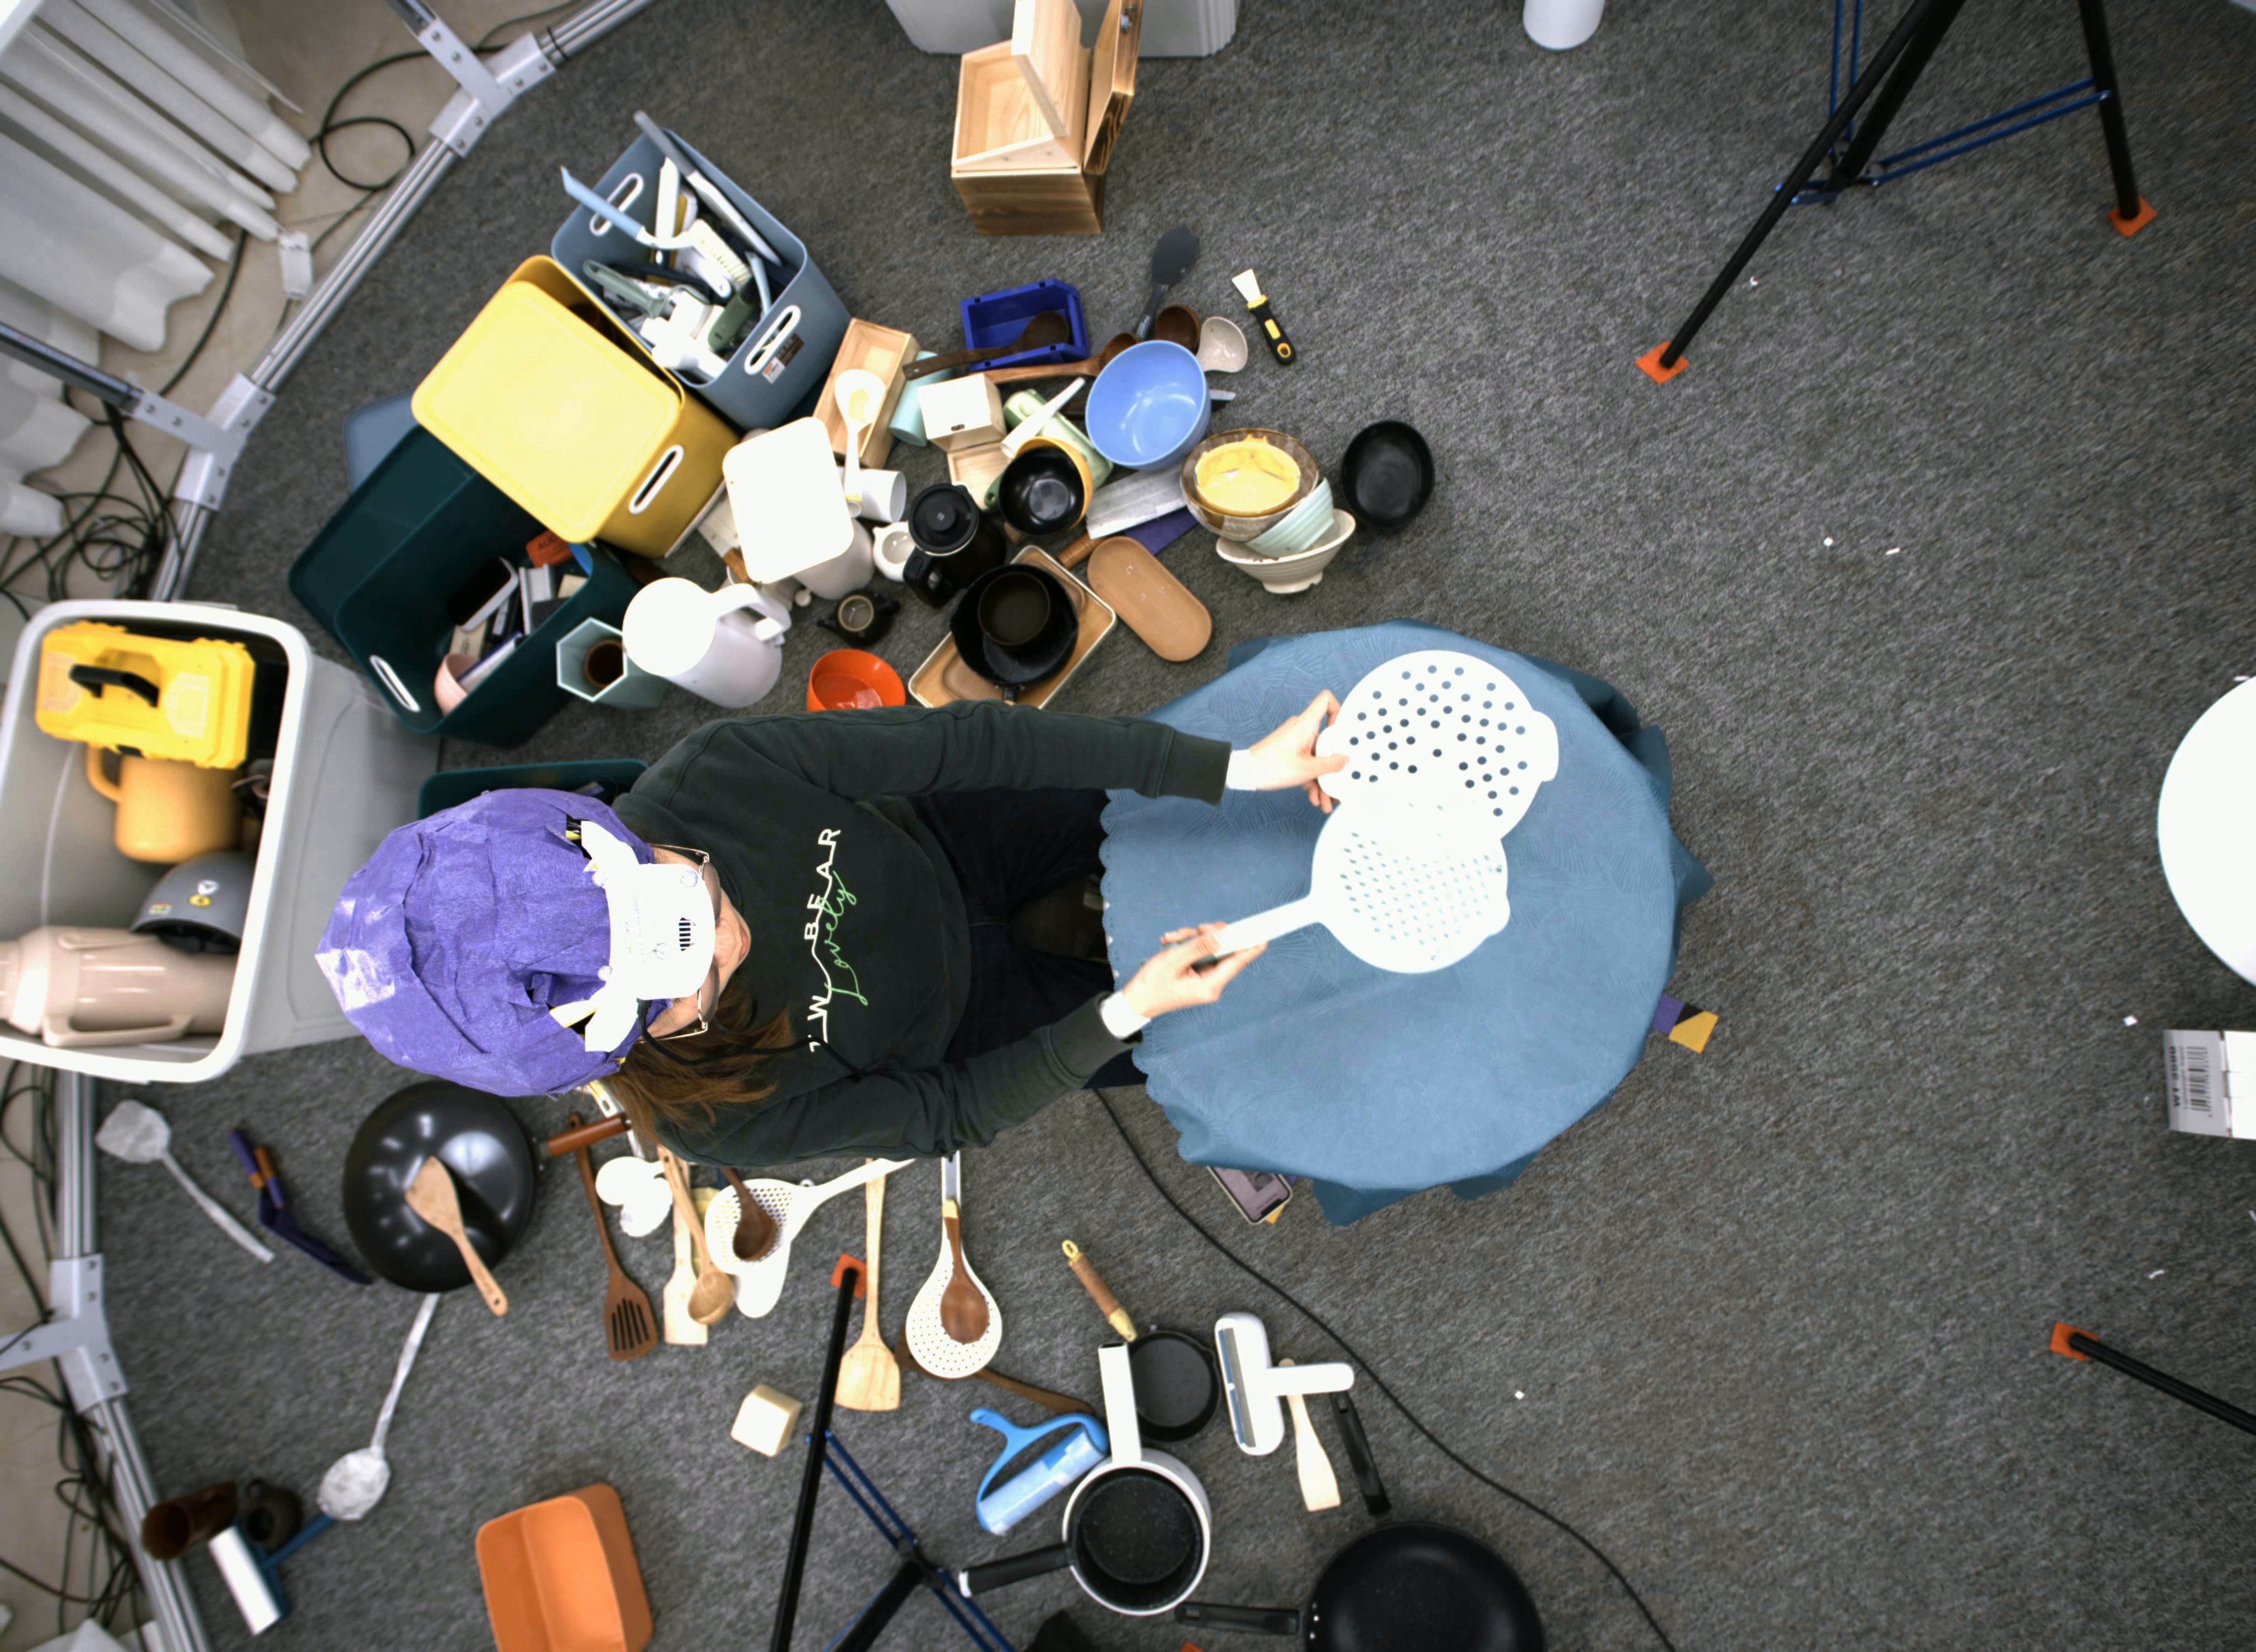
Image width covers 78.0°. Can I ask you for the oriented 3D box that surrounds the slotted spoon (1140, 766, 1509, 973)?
[{"bbox_3d":[0.166,0.070,1.258,0.362,0.075,0.168,-22,82,15],"label":"slotted spoon"}]

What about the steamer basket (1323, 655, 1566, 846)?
[{"bbox_3d":[0.310,-0.068,1.352,0.232,0.068,0.202,-4,95,16],"label":"steamer basket"}]
